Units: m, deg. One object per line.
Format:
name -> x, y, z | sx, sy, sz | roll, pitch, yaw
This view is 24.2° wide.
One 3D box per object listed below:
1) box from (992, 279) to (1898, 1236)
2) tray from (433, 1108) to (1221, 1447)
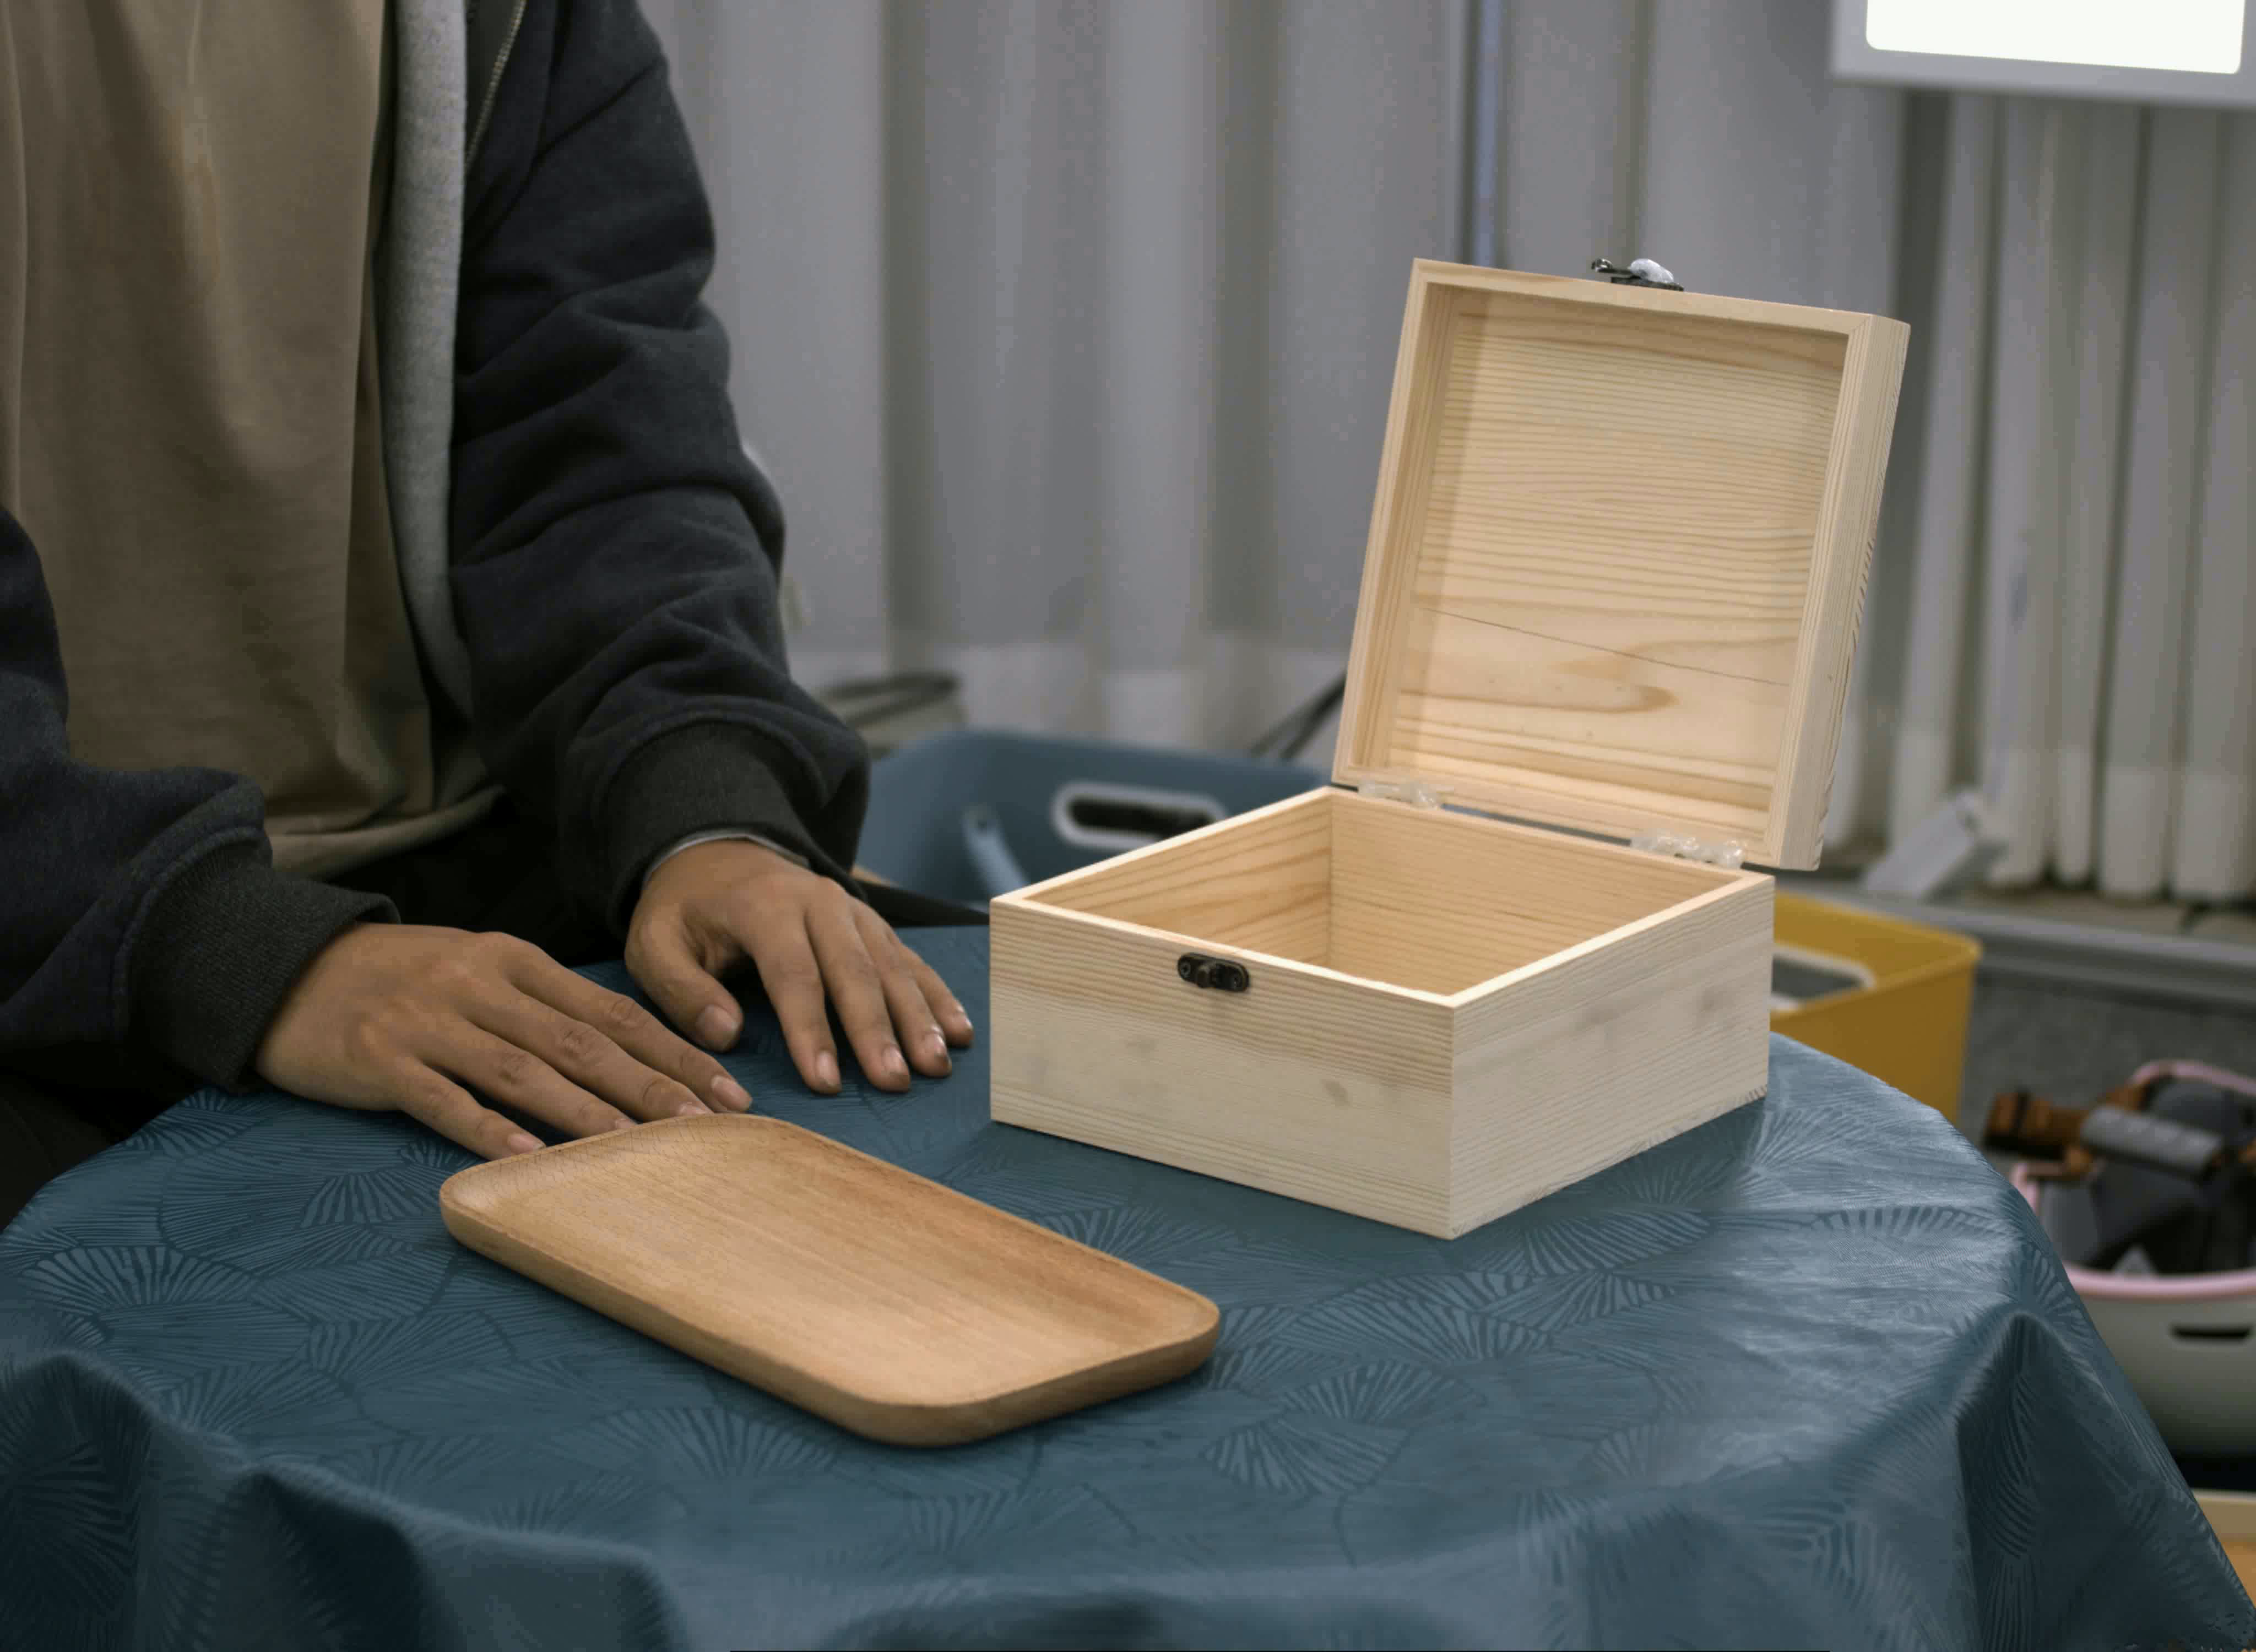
box -> 0.102, -0.034, 1.696 | 0.179, 0.255, 0.266 | 9, 17, 36
tray -> -0.091, 0.128, 1.529 | 0.131, 0.023, 0.247 | -9, 17, -39
